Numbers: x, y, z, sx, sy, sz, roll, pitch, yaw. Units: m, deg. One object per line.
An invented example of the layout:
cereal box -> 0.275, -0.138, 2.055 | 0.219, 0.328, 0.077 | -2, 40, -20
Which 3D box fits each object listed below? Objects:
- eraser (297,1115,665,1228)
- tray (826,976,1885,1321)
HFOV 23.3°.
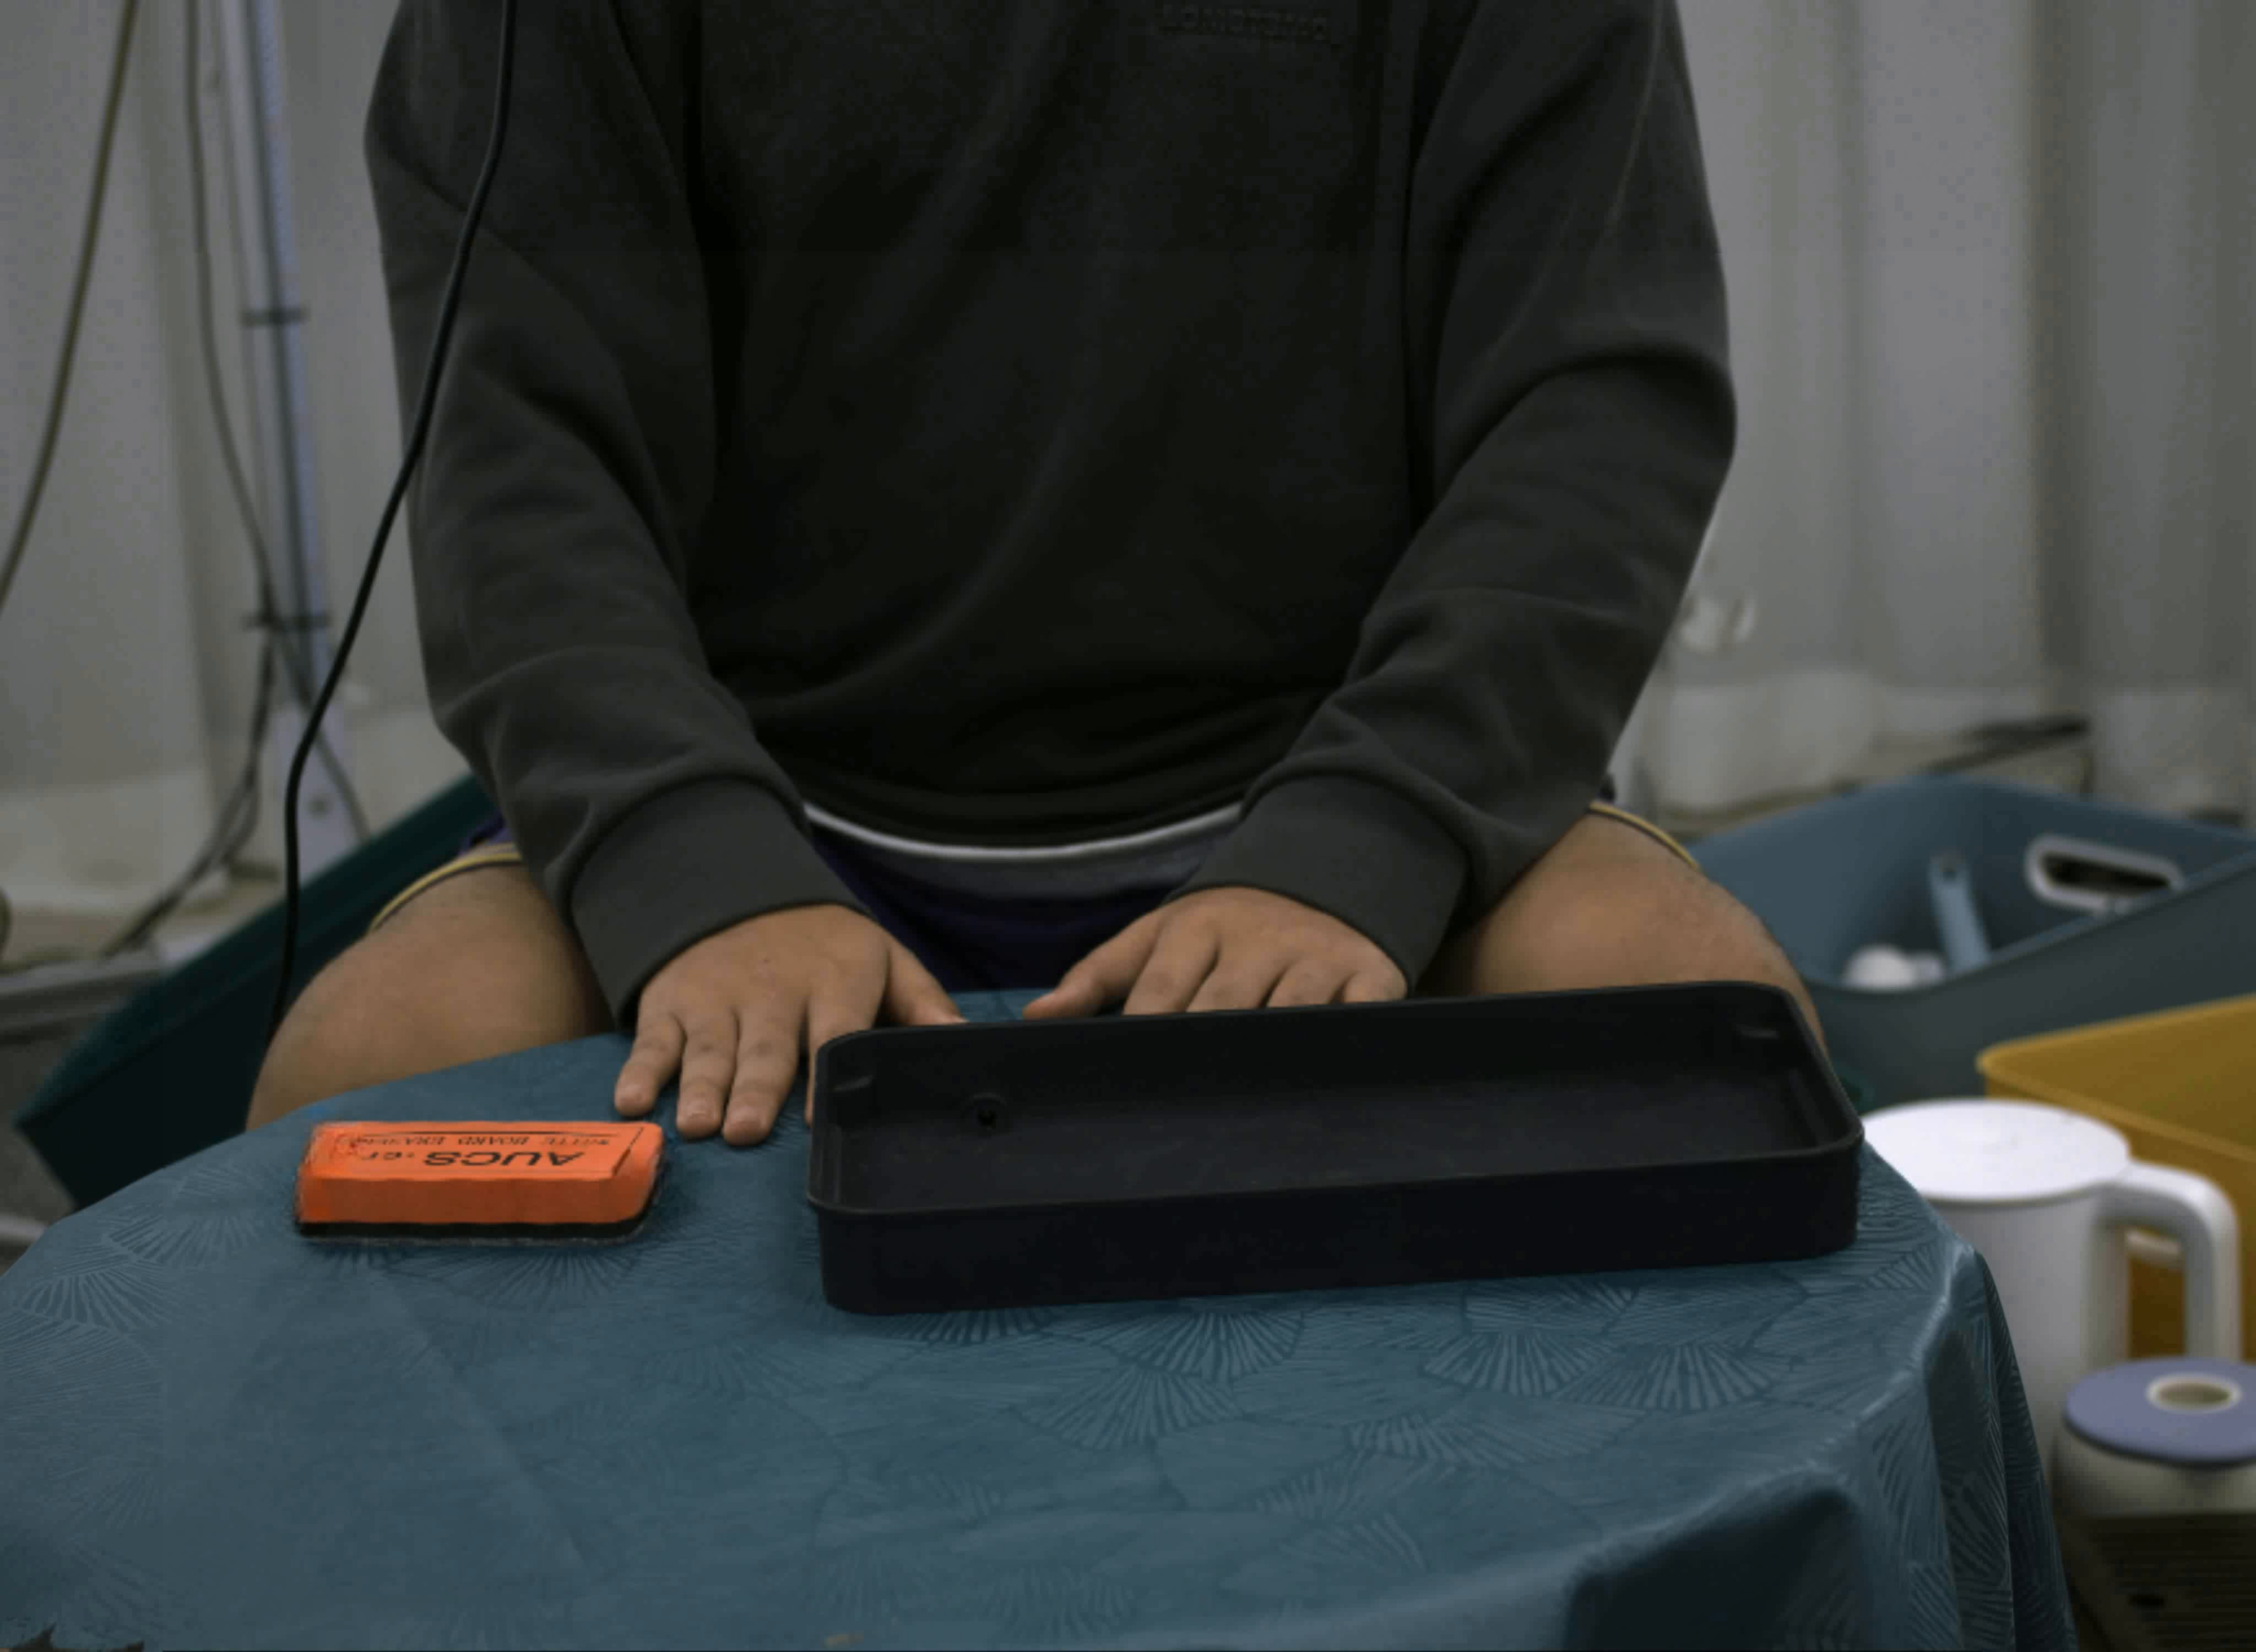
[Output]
eraser -> -0.203, 0.109, 1.719 | 0.108, 0.023, 0.059 | -2, 9, 9
tray -> 0.066, 0.098, 1.701 | 0.317, 0.037, 0.185 | -4, 14, -2
